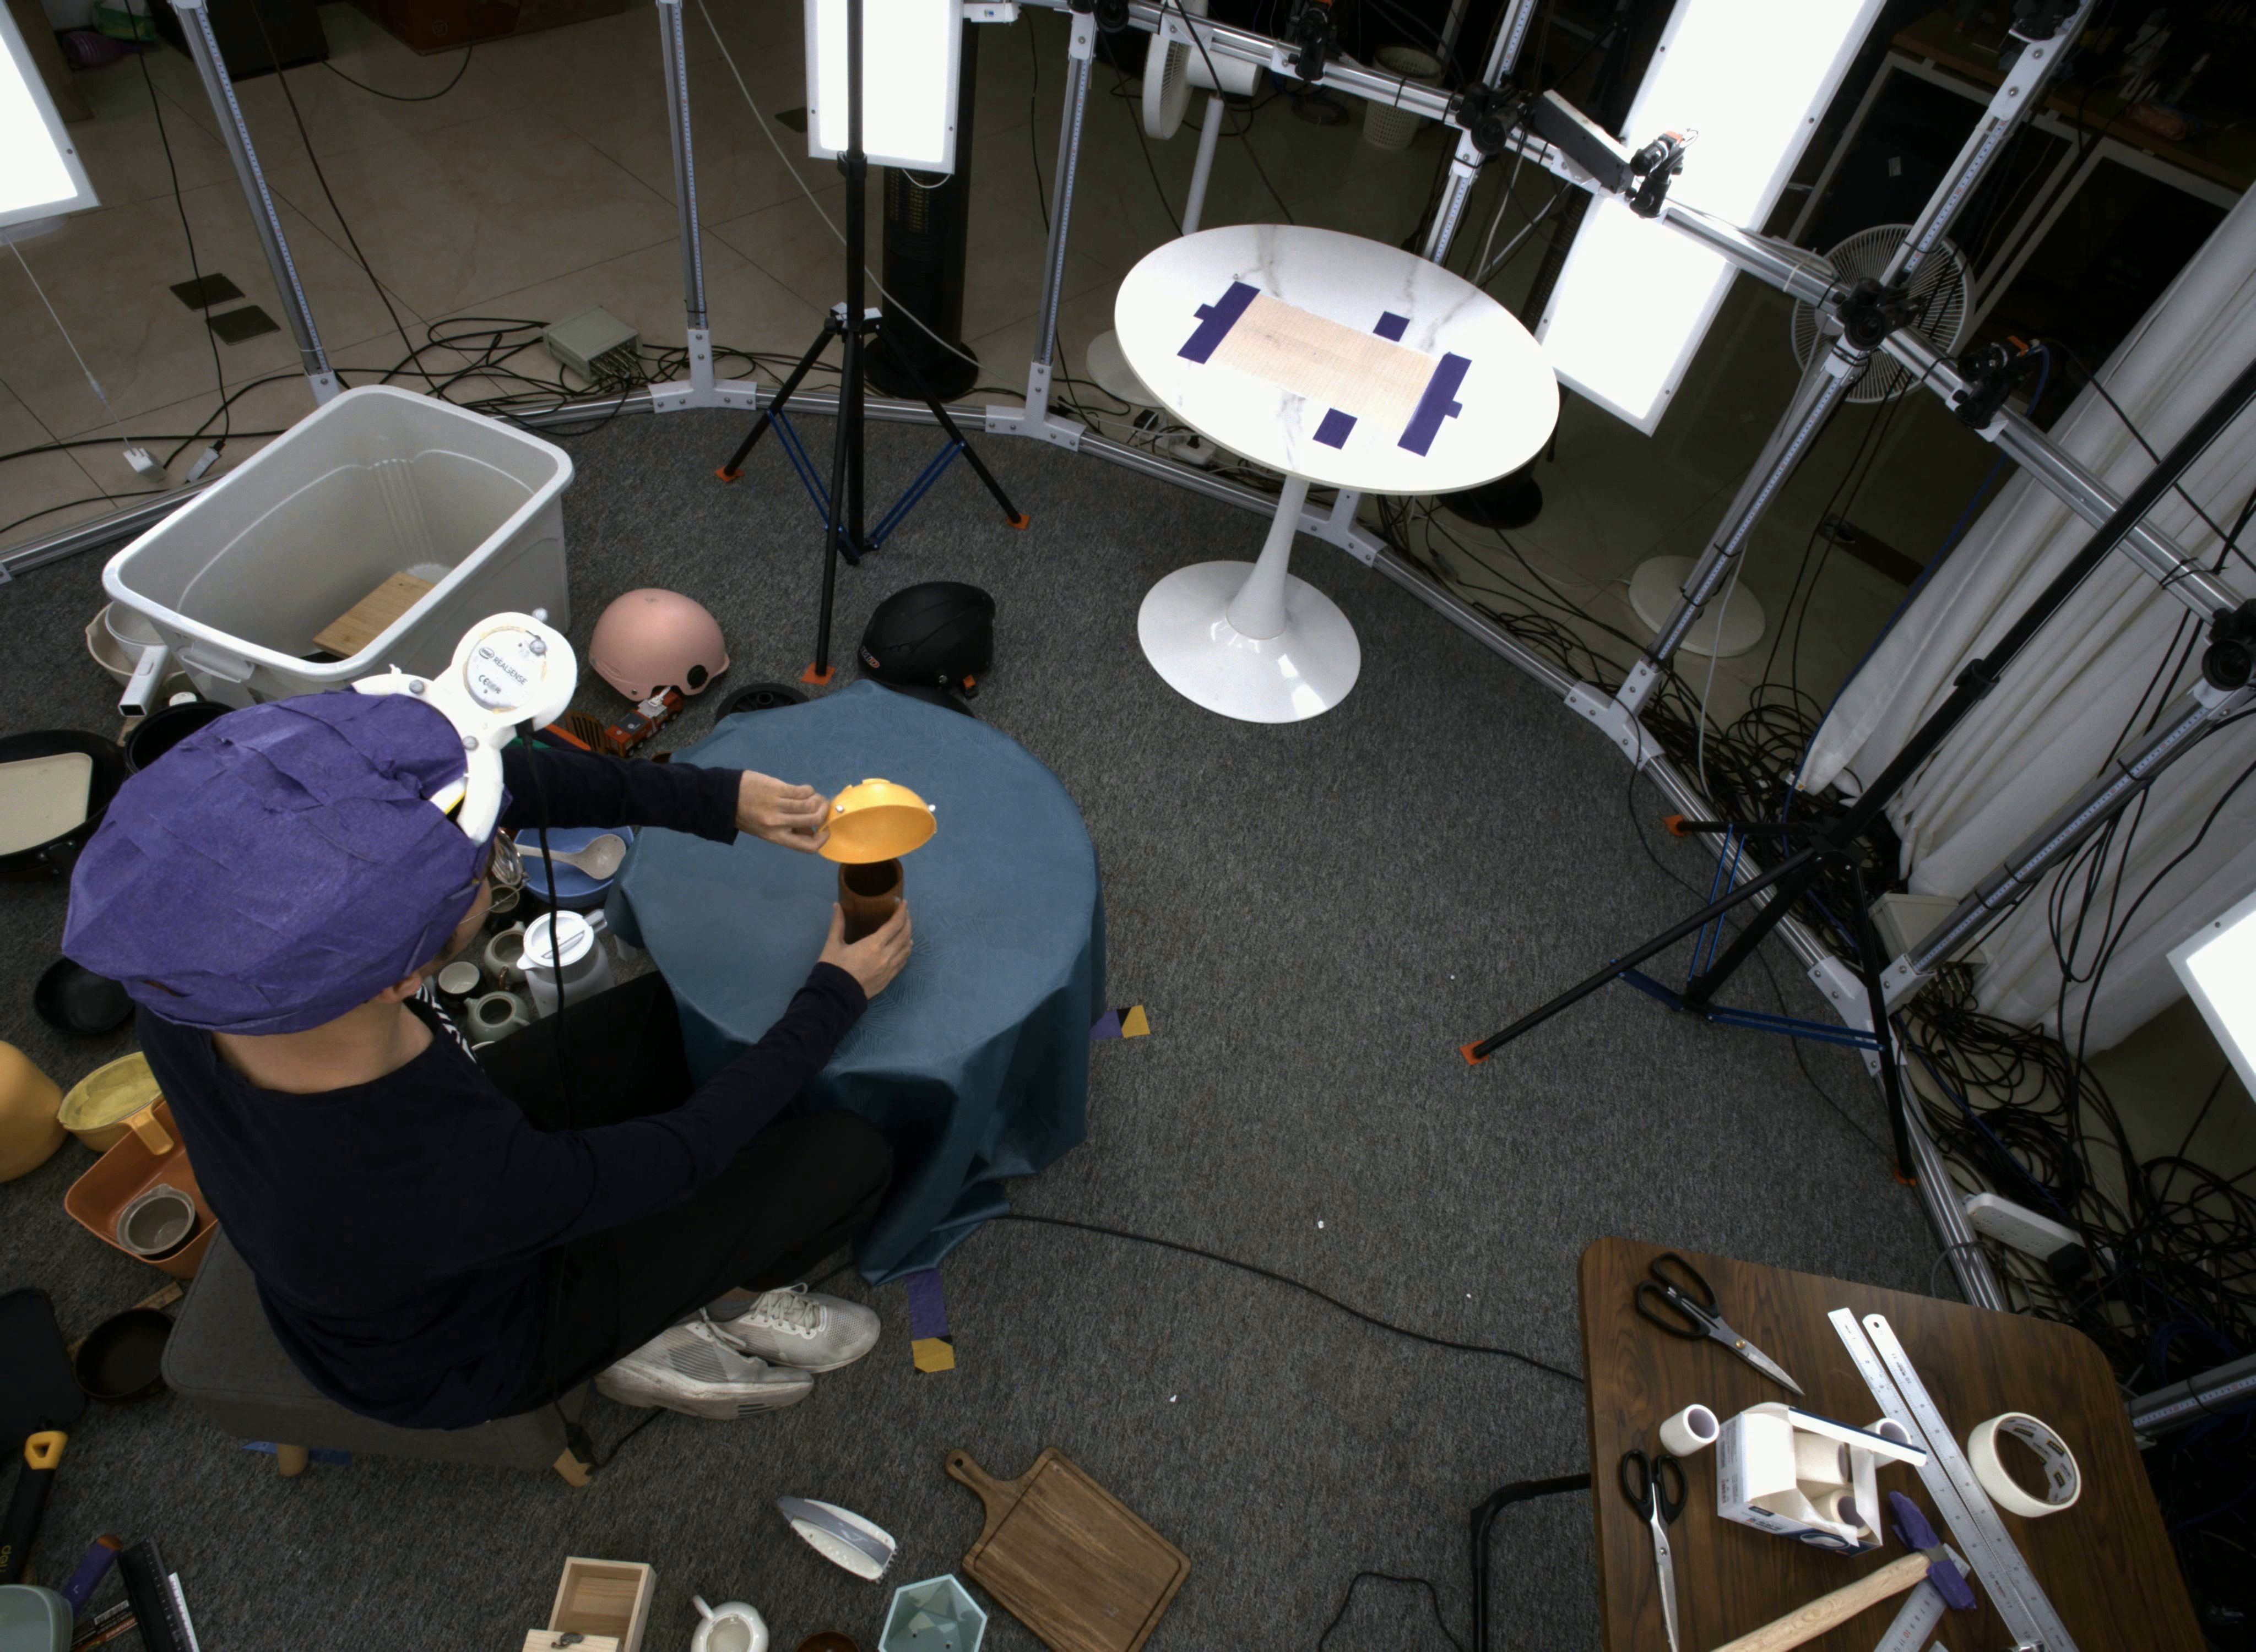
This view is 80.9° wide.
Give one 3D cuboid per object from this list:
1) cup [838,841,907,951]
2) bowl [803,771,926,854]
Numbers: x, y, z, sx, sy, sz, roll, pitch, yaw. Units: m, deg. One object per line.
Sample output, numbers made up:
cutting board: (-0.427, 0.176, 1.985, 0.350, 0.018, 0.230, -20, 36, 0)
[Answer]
cup: (-0.316, 0.087, 1.612, 0.087, 0.121, 0.086, 5, 50, -4)
bowl: (-0.313, -0.024, 1.529, 0.145, 0.146, 0.059, -5, 67, -16)
